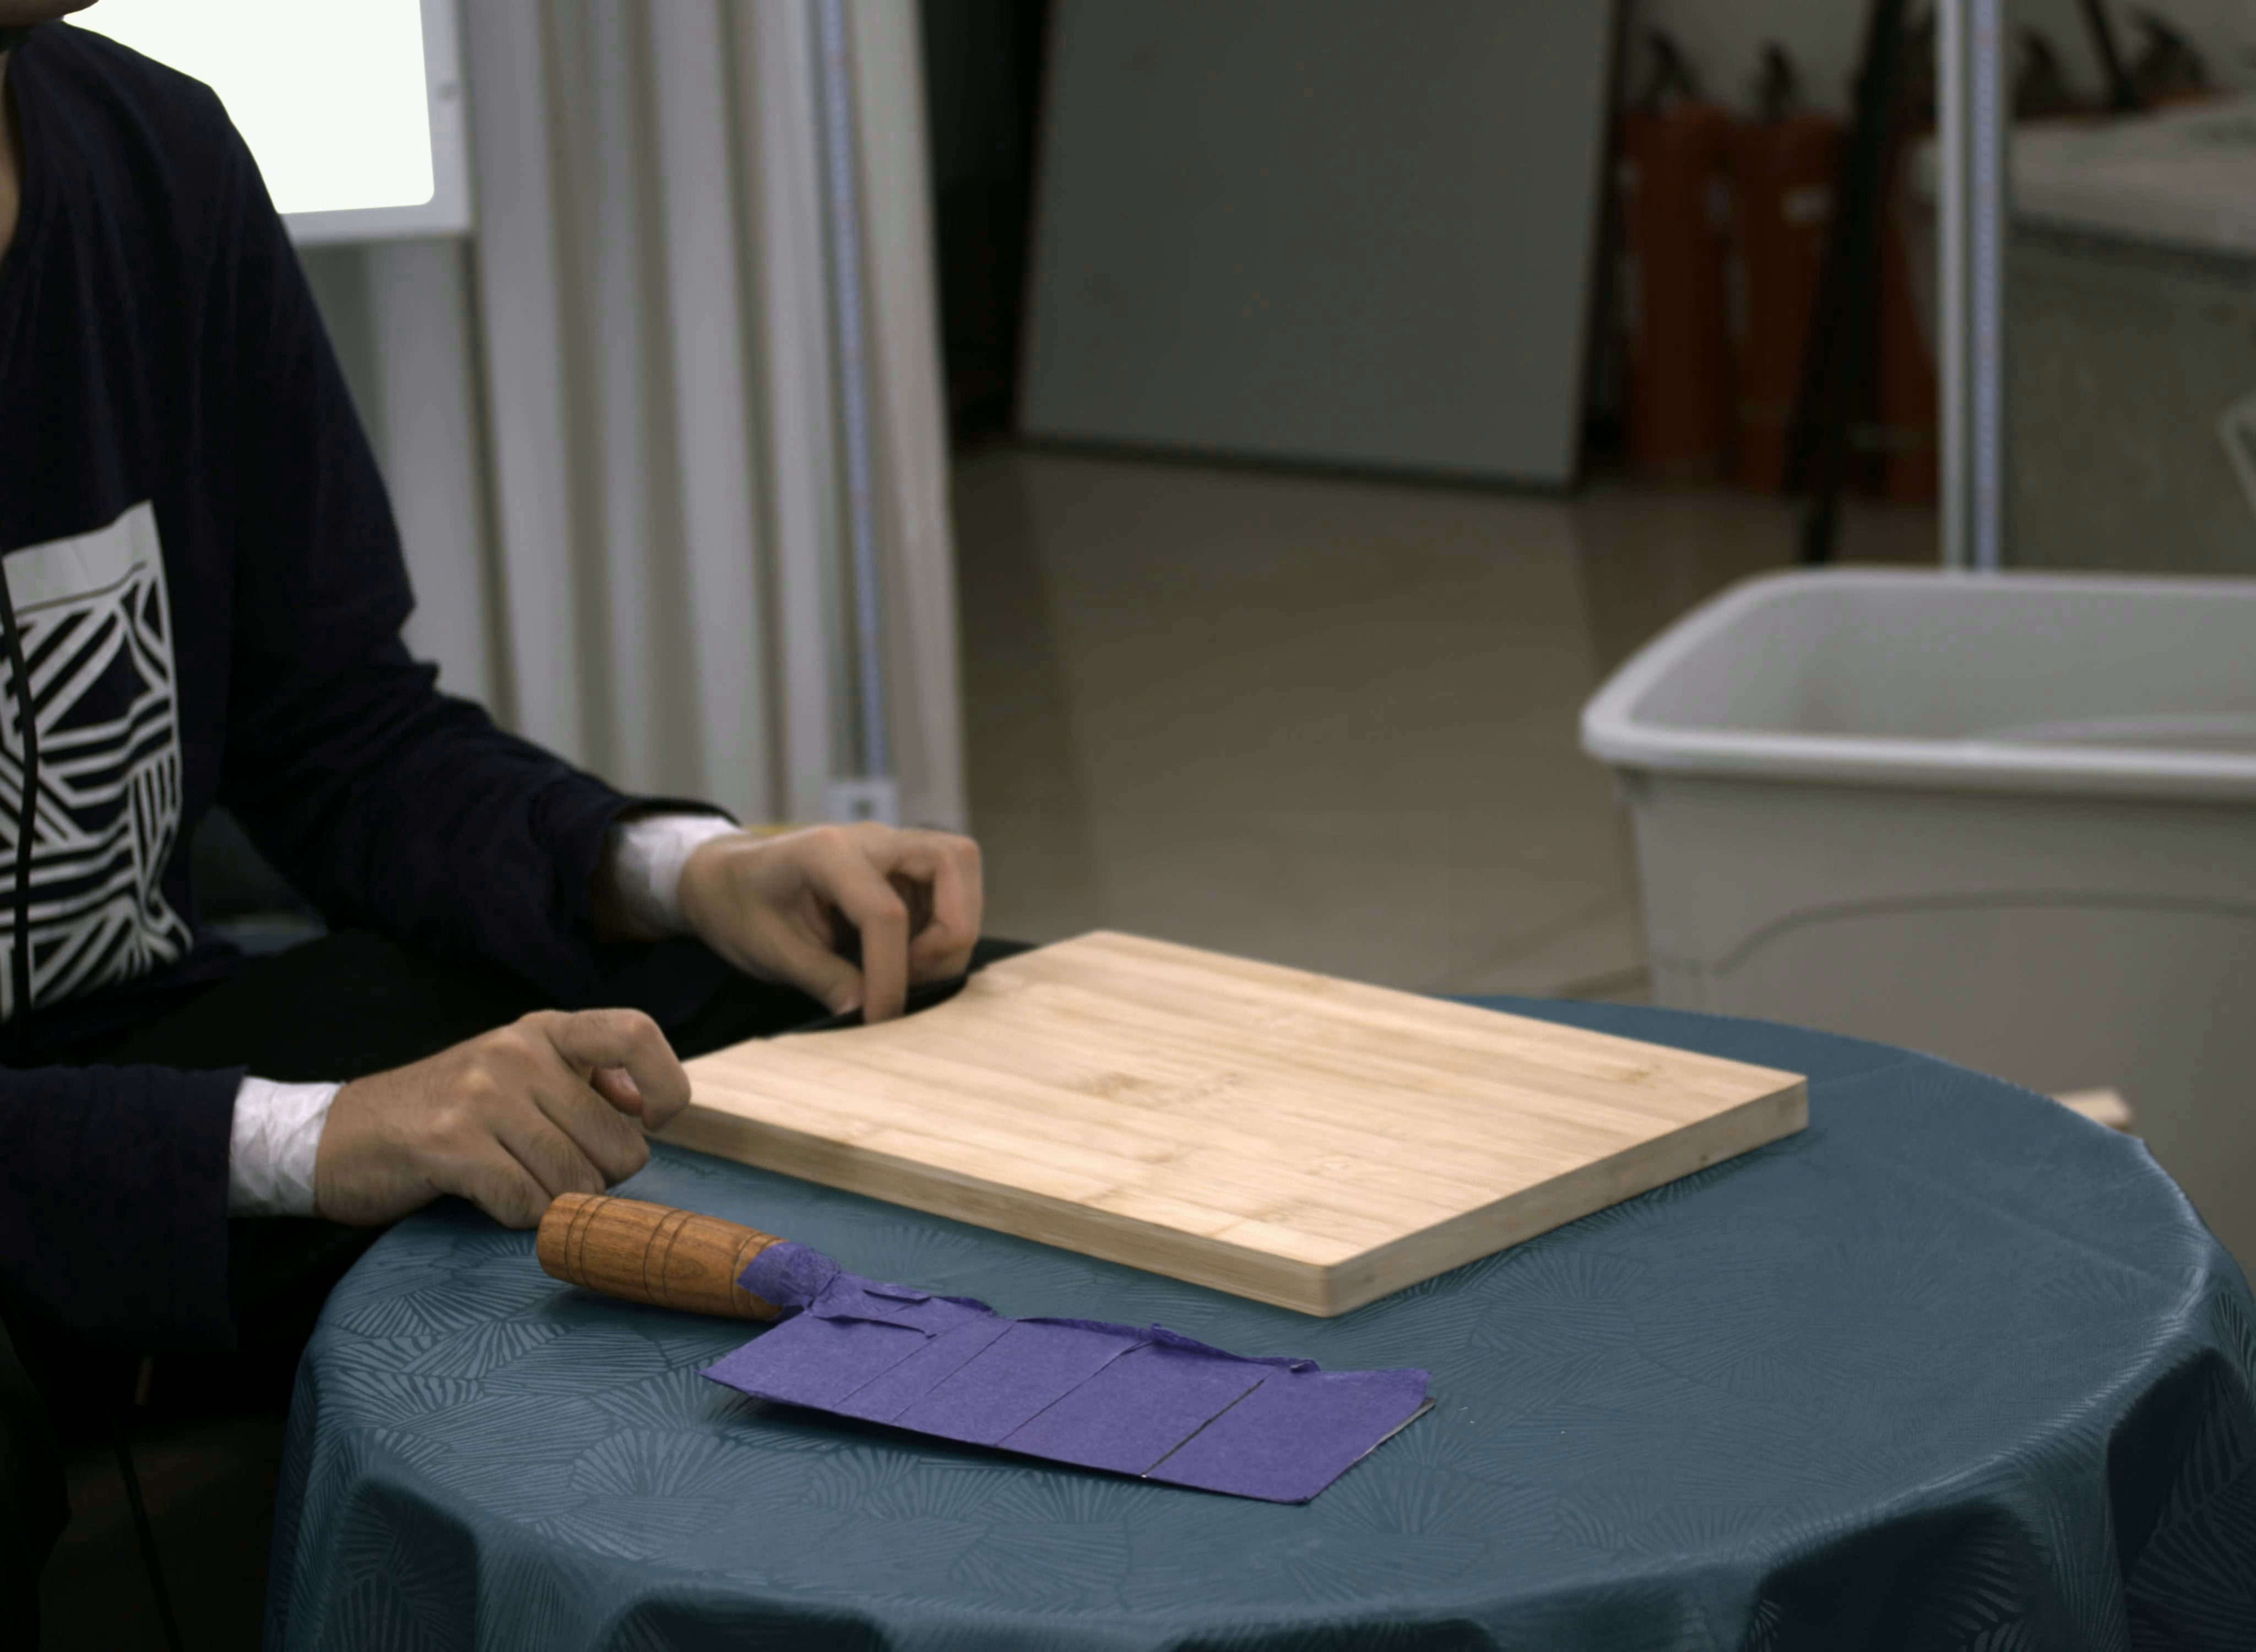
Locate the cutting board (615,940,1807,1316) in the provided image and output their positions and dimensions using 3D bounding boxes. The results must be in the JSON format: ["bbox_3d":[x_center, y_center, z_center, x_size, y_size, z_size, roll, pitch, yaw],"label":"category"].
[{"bbox_3d":[0.024,0.097,1.835,0.245,0.024,0.352,-17,18,-42],"label":"cutting board"}]

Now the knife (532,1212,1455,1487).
[{"bbox_3d":[-0.061,0.154,1.600,0.316,0.032,0.102,5,16,31],"label":"knife"}]
